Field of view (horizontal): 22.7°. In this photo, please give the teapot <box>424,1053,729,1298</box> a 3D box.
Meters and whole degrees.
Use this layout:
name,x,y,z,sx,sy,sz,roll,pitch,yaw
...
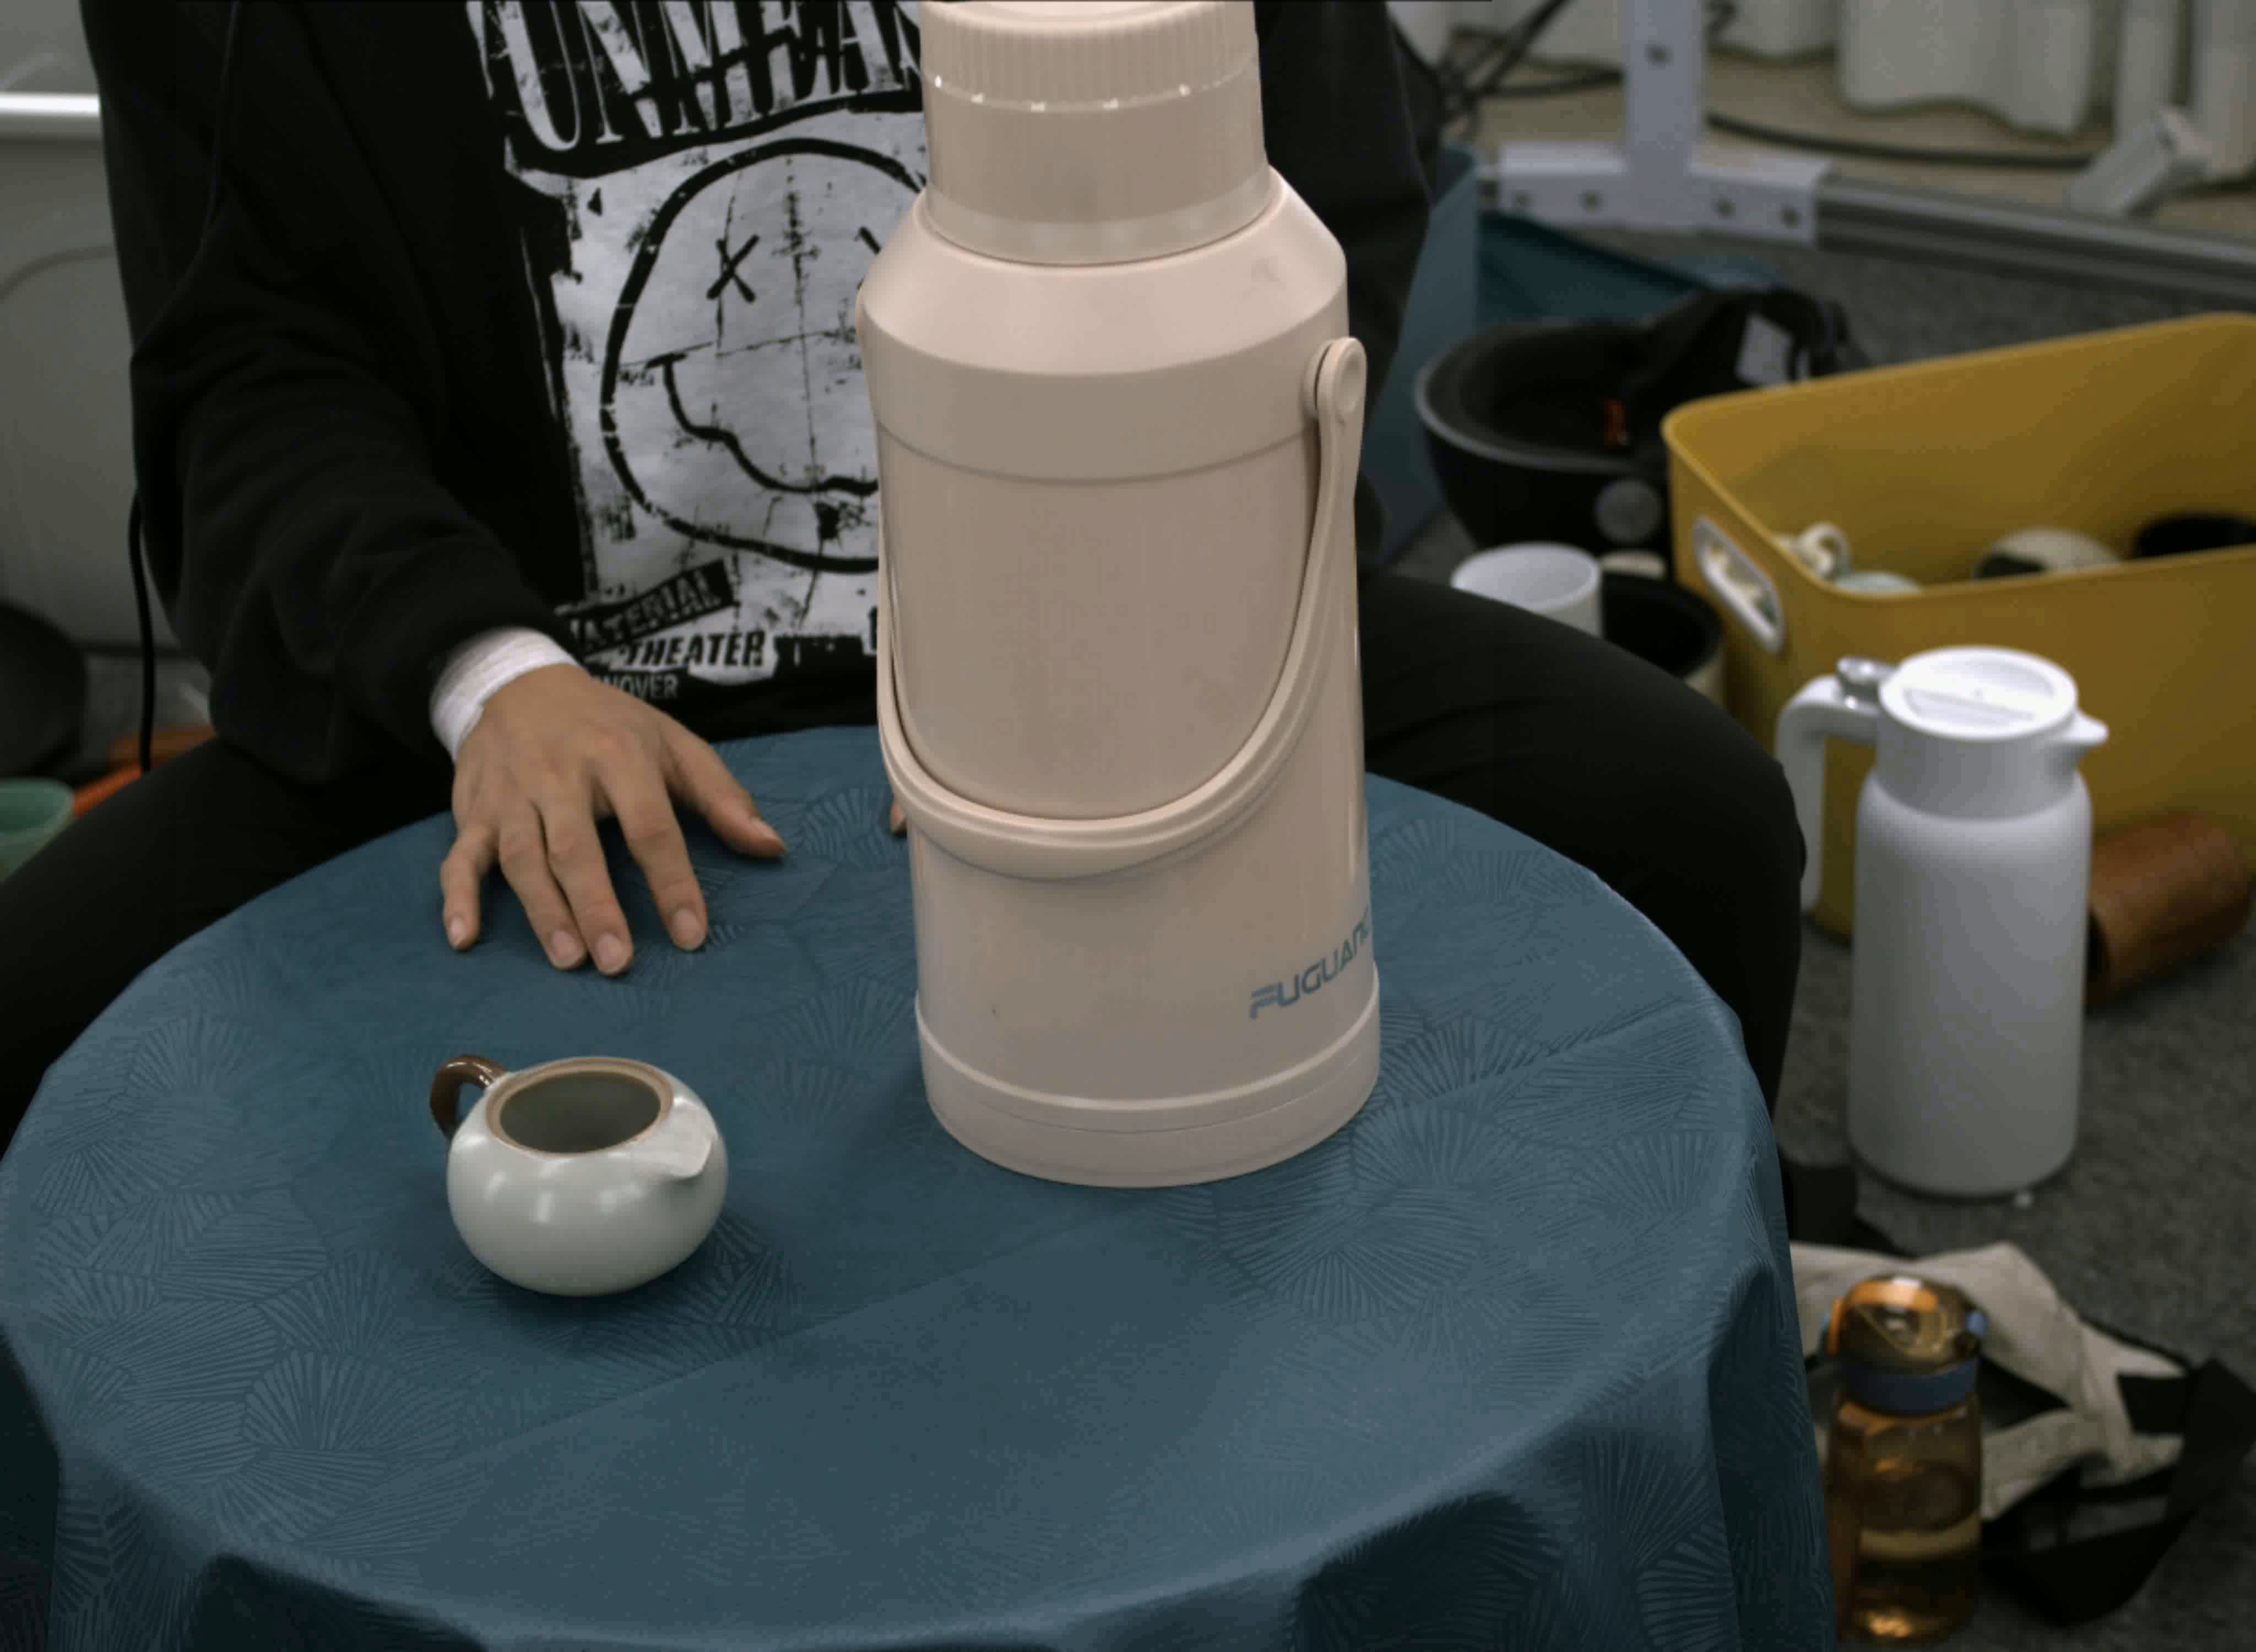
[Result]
name,x,y,z,sx,sy,sz,roll,pitch,yaw
teapot,-0.183,0.112,1.832,0.127,0.059,0.093,19,37,34

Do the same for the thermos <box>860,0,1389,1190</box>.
name,x,y,z,sx,sy,sz,roll,pitch,yaw
thermos,0.007,-0.097,1.856,0.174,0.402,0.210,9,29,26
